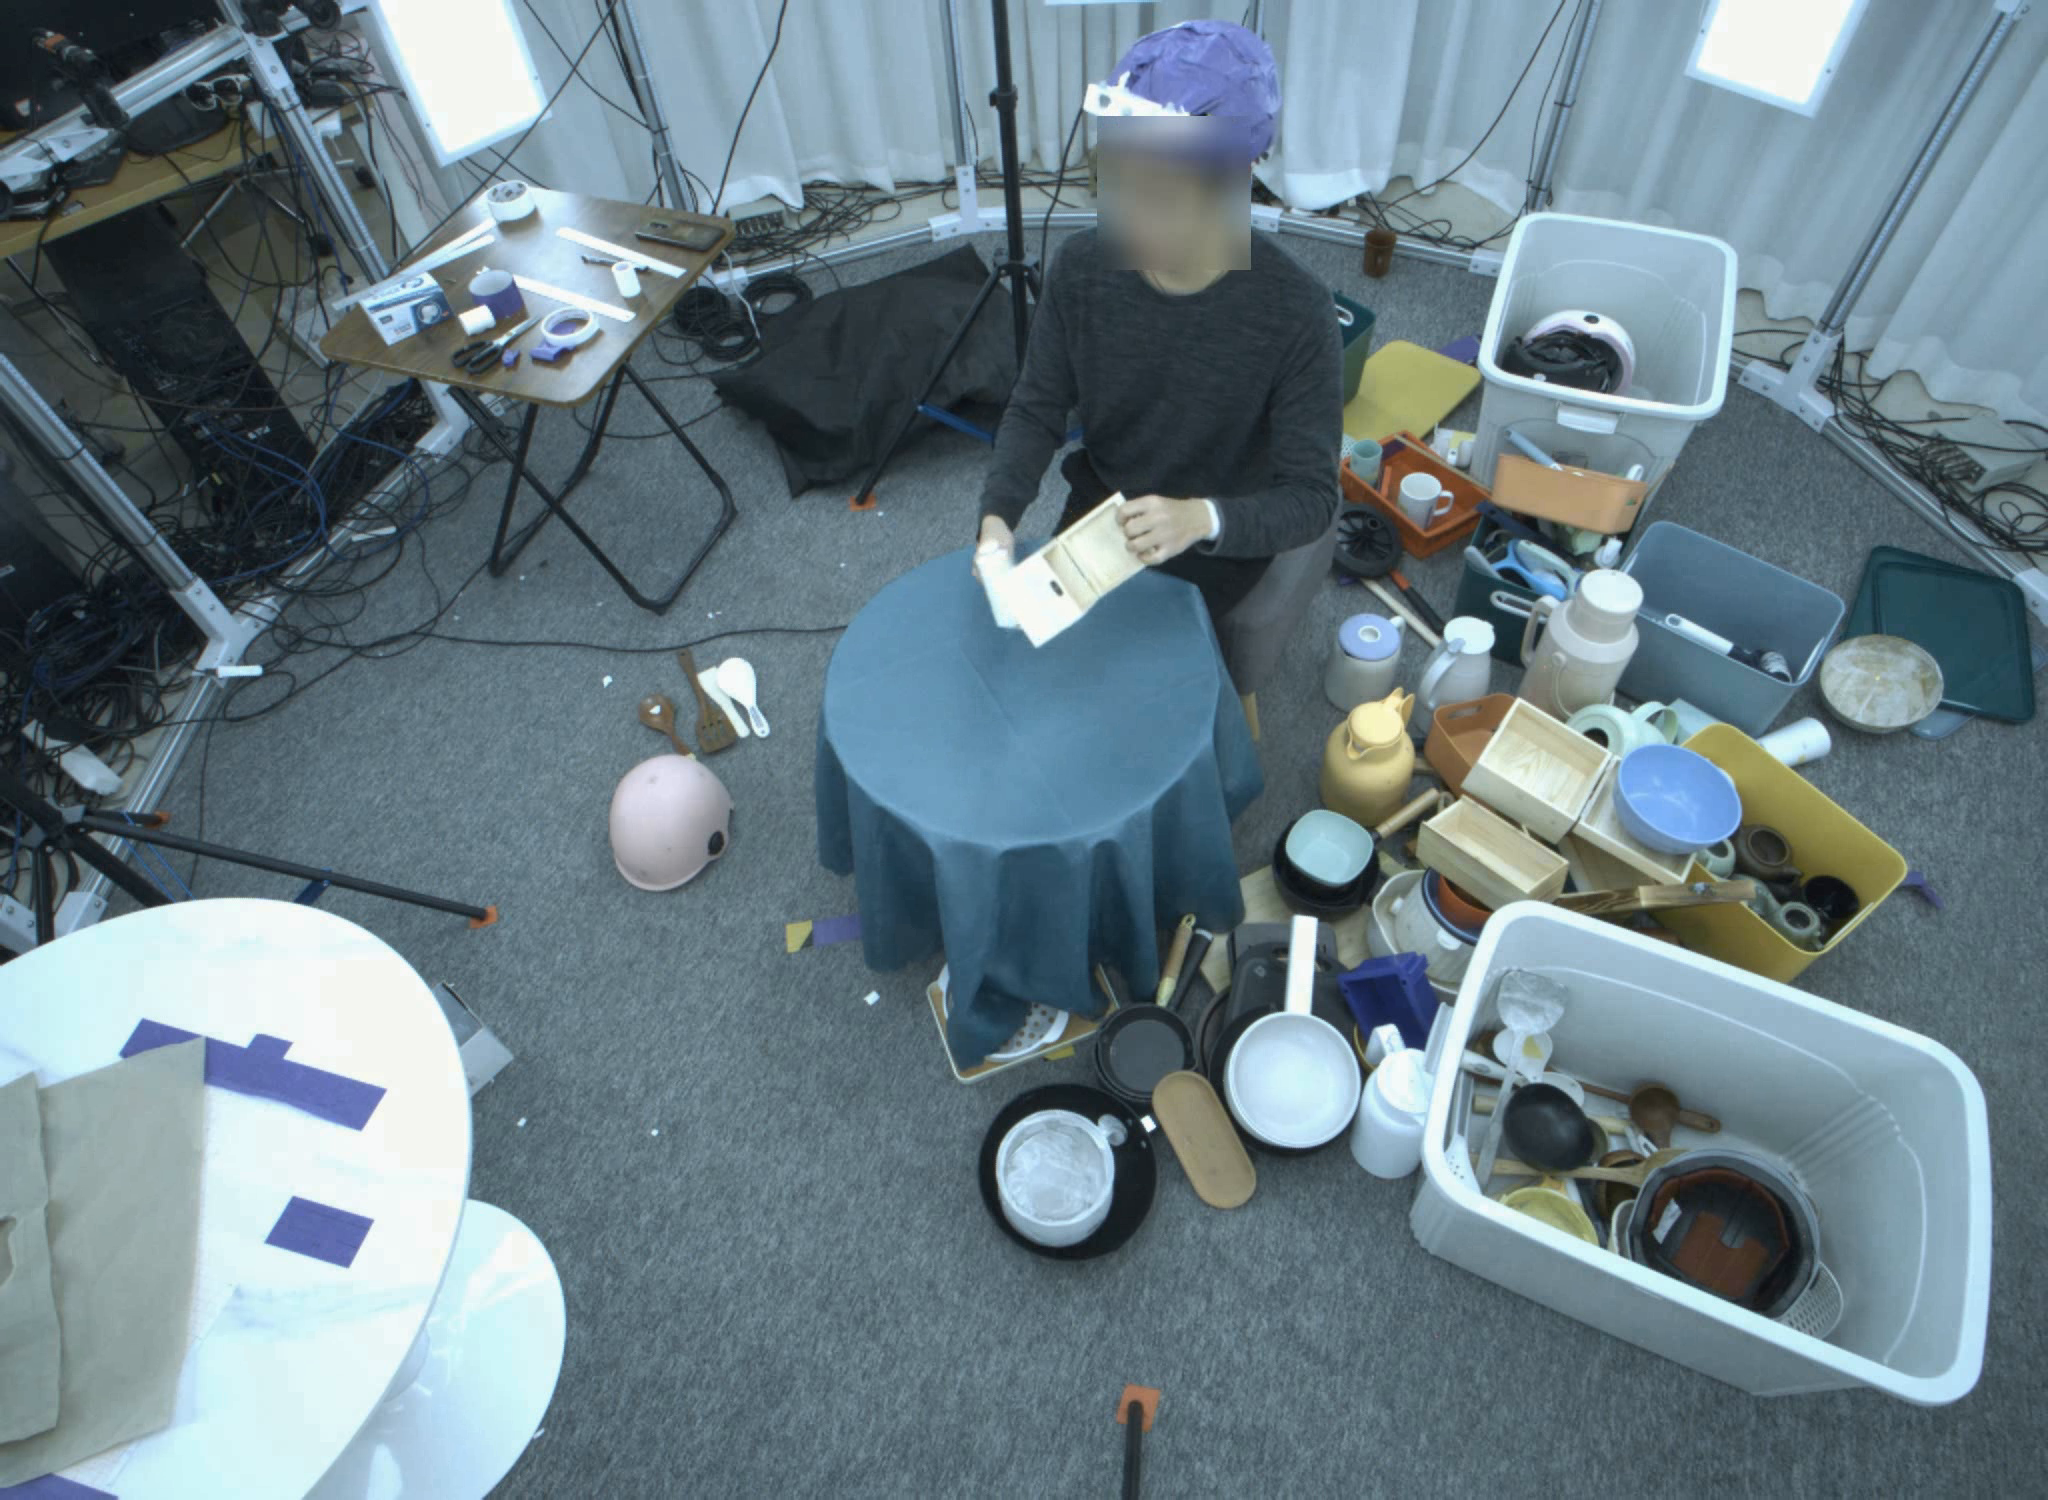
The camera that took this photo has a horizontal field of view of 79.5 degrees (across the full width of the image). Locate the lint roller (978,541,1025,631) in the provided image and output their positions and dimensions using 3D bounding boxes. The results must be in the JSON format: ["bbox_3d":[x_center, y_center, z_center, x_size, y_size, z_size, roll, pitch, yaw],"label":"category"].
[{"bbox_3d":[-0.040,-0.255,1.803,0.050,0.134,0.178,-23,24,-3],"label":"lint roller"}]

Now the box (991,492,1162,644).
[{"bbox_3d":[0.070,-0.239,1.602,0.183,0.103,0.134,-31,10,22],"label":"box"}]
